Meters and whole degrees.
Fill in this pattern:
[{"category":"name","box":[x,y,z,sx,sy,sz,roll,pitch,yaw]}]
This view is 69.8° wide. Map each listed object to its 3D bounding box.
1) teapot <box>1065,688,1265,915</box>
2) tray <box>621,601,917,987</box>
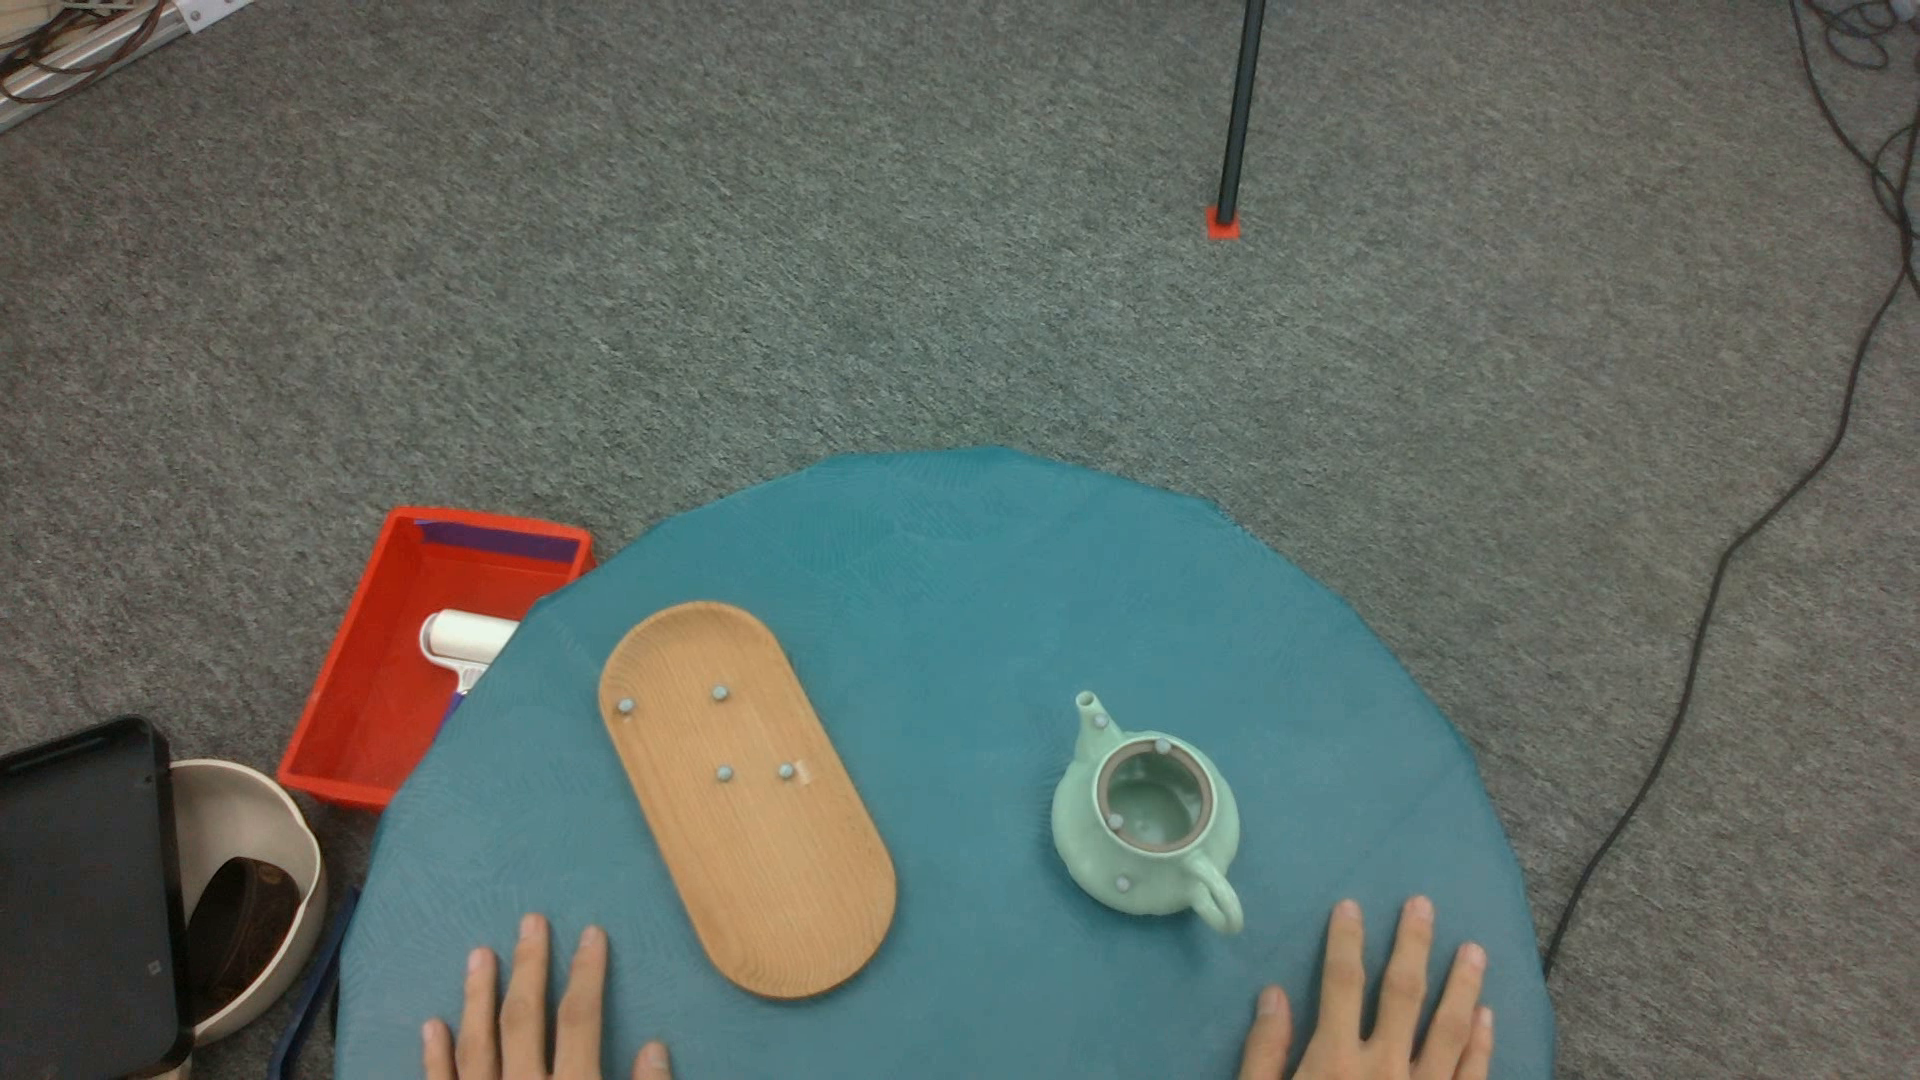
[{"category":"teapot","box":[0.106,0.139,0.708,0.096,0.061,0.137,-30,63,-18]},{"category":"tray","box":[-0.105,0.130,0.741,0.102,0.020,0.231,-26,64,-14]}]
